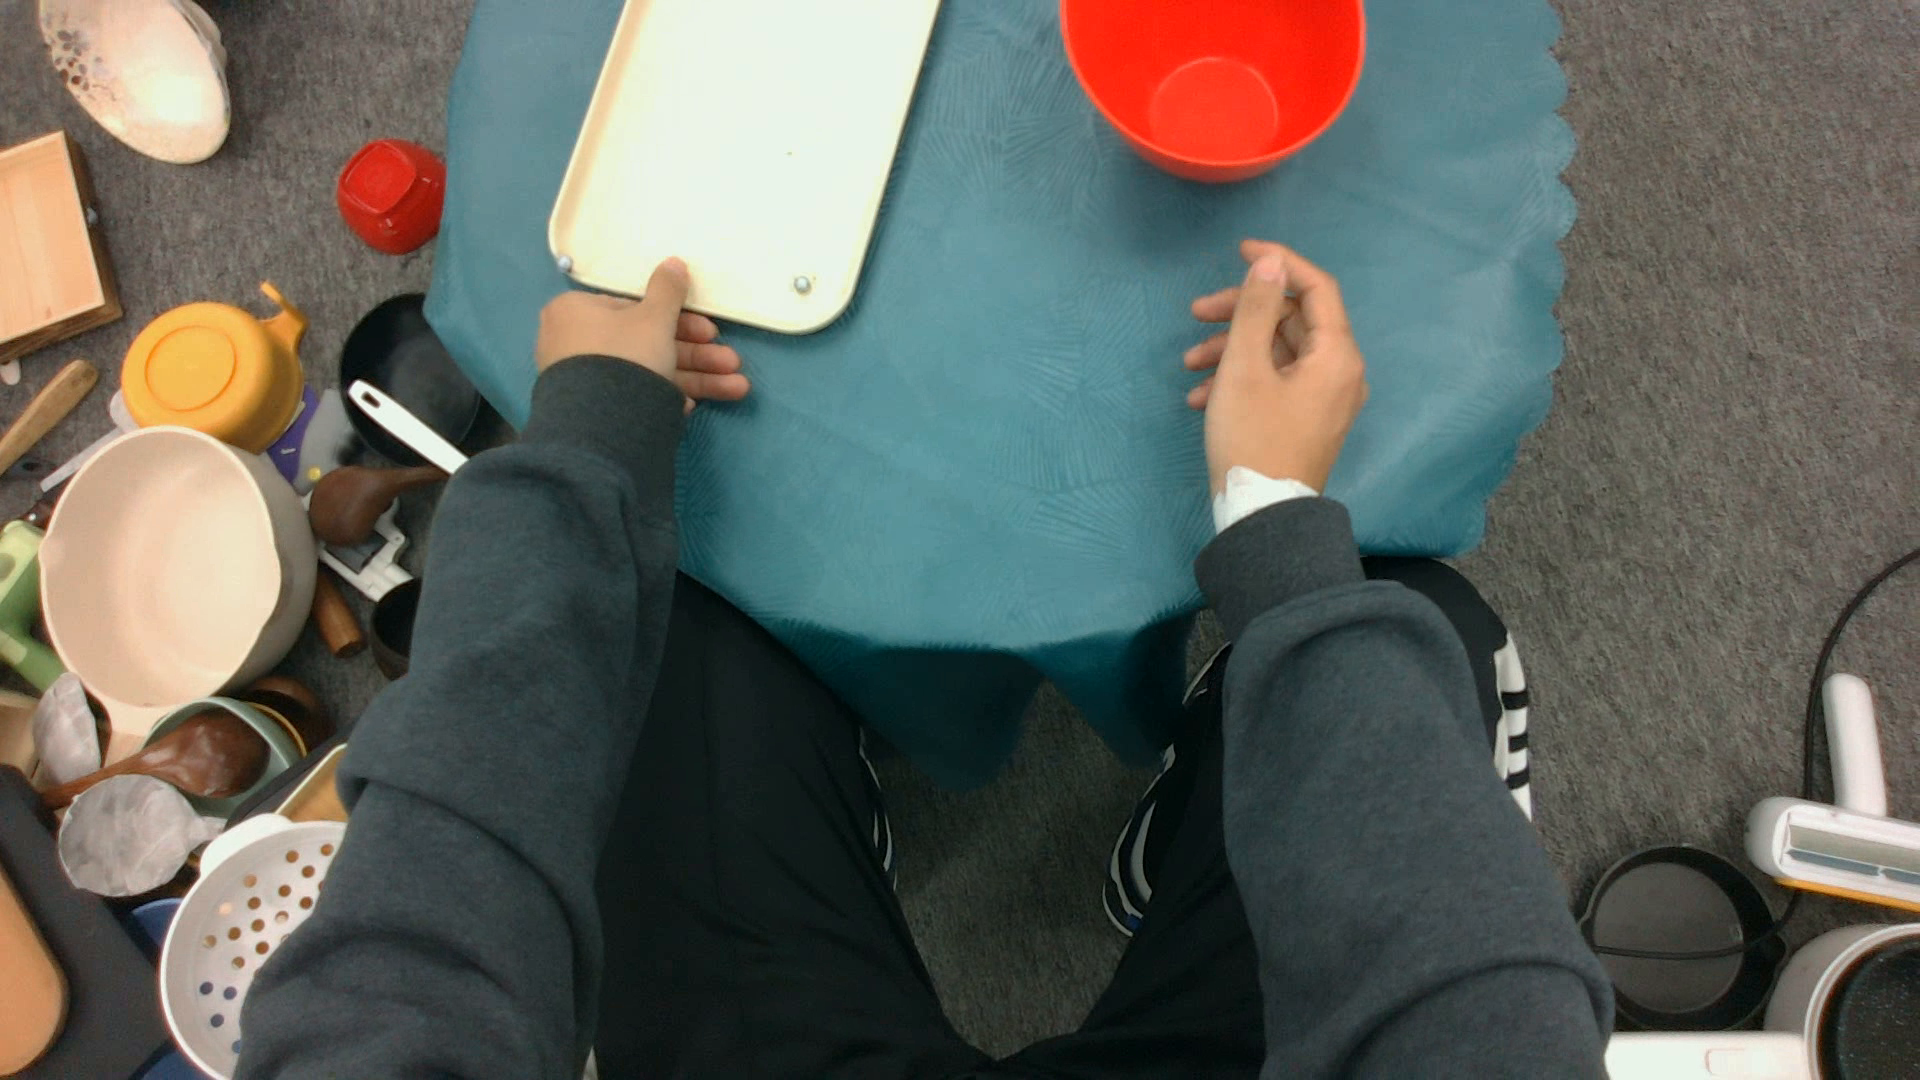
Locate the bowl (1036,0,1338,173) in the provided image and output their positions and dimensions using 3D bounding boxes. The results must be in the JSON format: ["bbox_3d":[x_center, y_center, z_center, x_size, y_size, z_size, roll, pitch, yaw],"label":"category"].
[{"bbox_3d":[0.113,-0.247,0.704,0.148,0.104,0.148,-1,77,3],"label":"bowl"}]

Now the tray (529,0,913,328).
[{"bbox_3d":[-0.127,-0.237,0.755,0.171,0.017,0.240,14,79,5],"label":"tray"}]
